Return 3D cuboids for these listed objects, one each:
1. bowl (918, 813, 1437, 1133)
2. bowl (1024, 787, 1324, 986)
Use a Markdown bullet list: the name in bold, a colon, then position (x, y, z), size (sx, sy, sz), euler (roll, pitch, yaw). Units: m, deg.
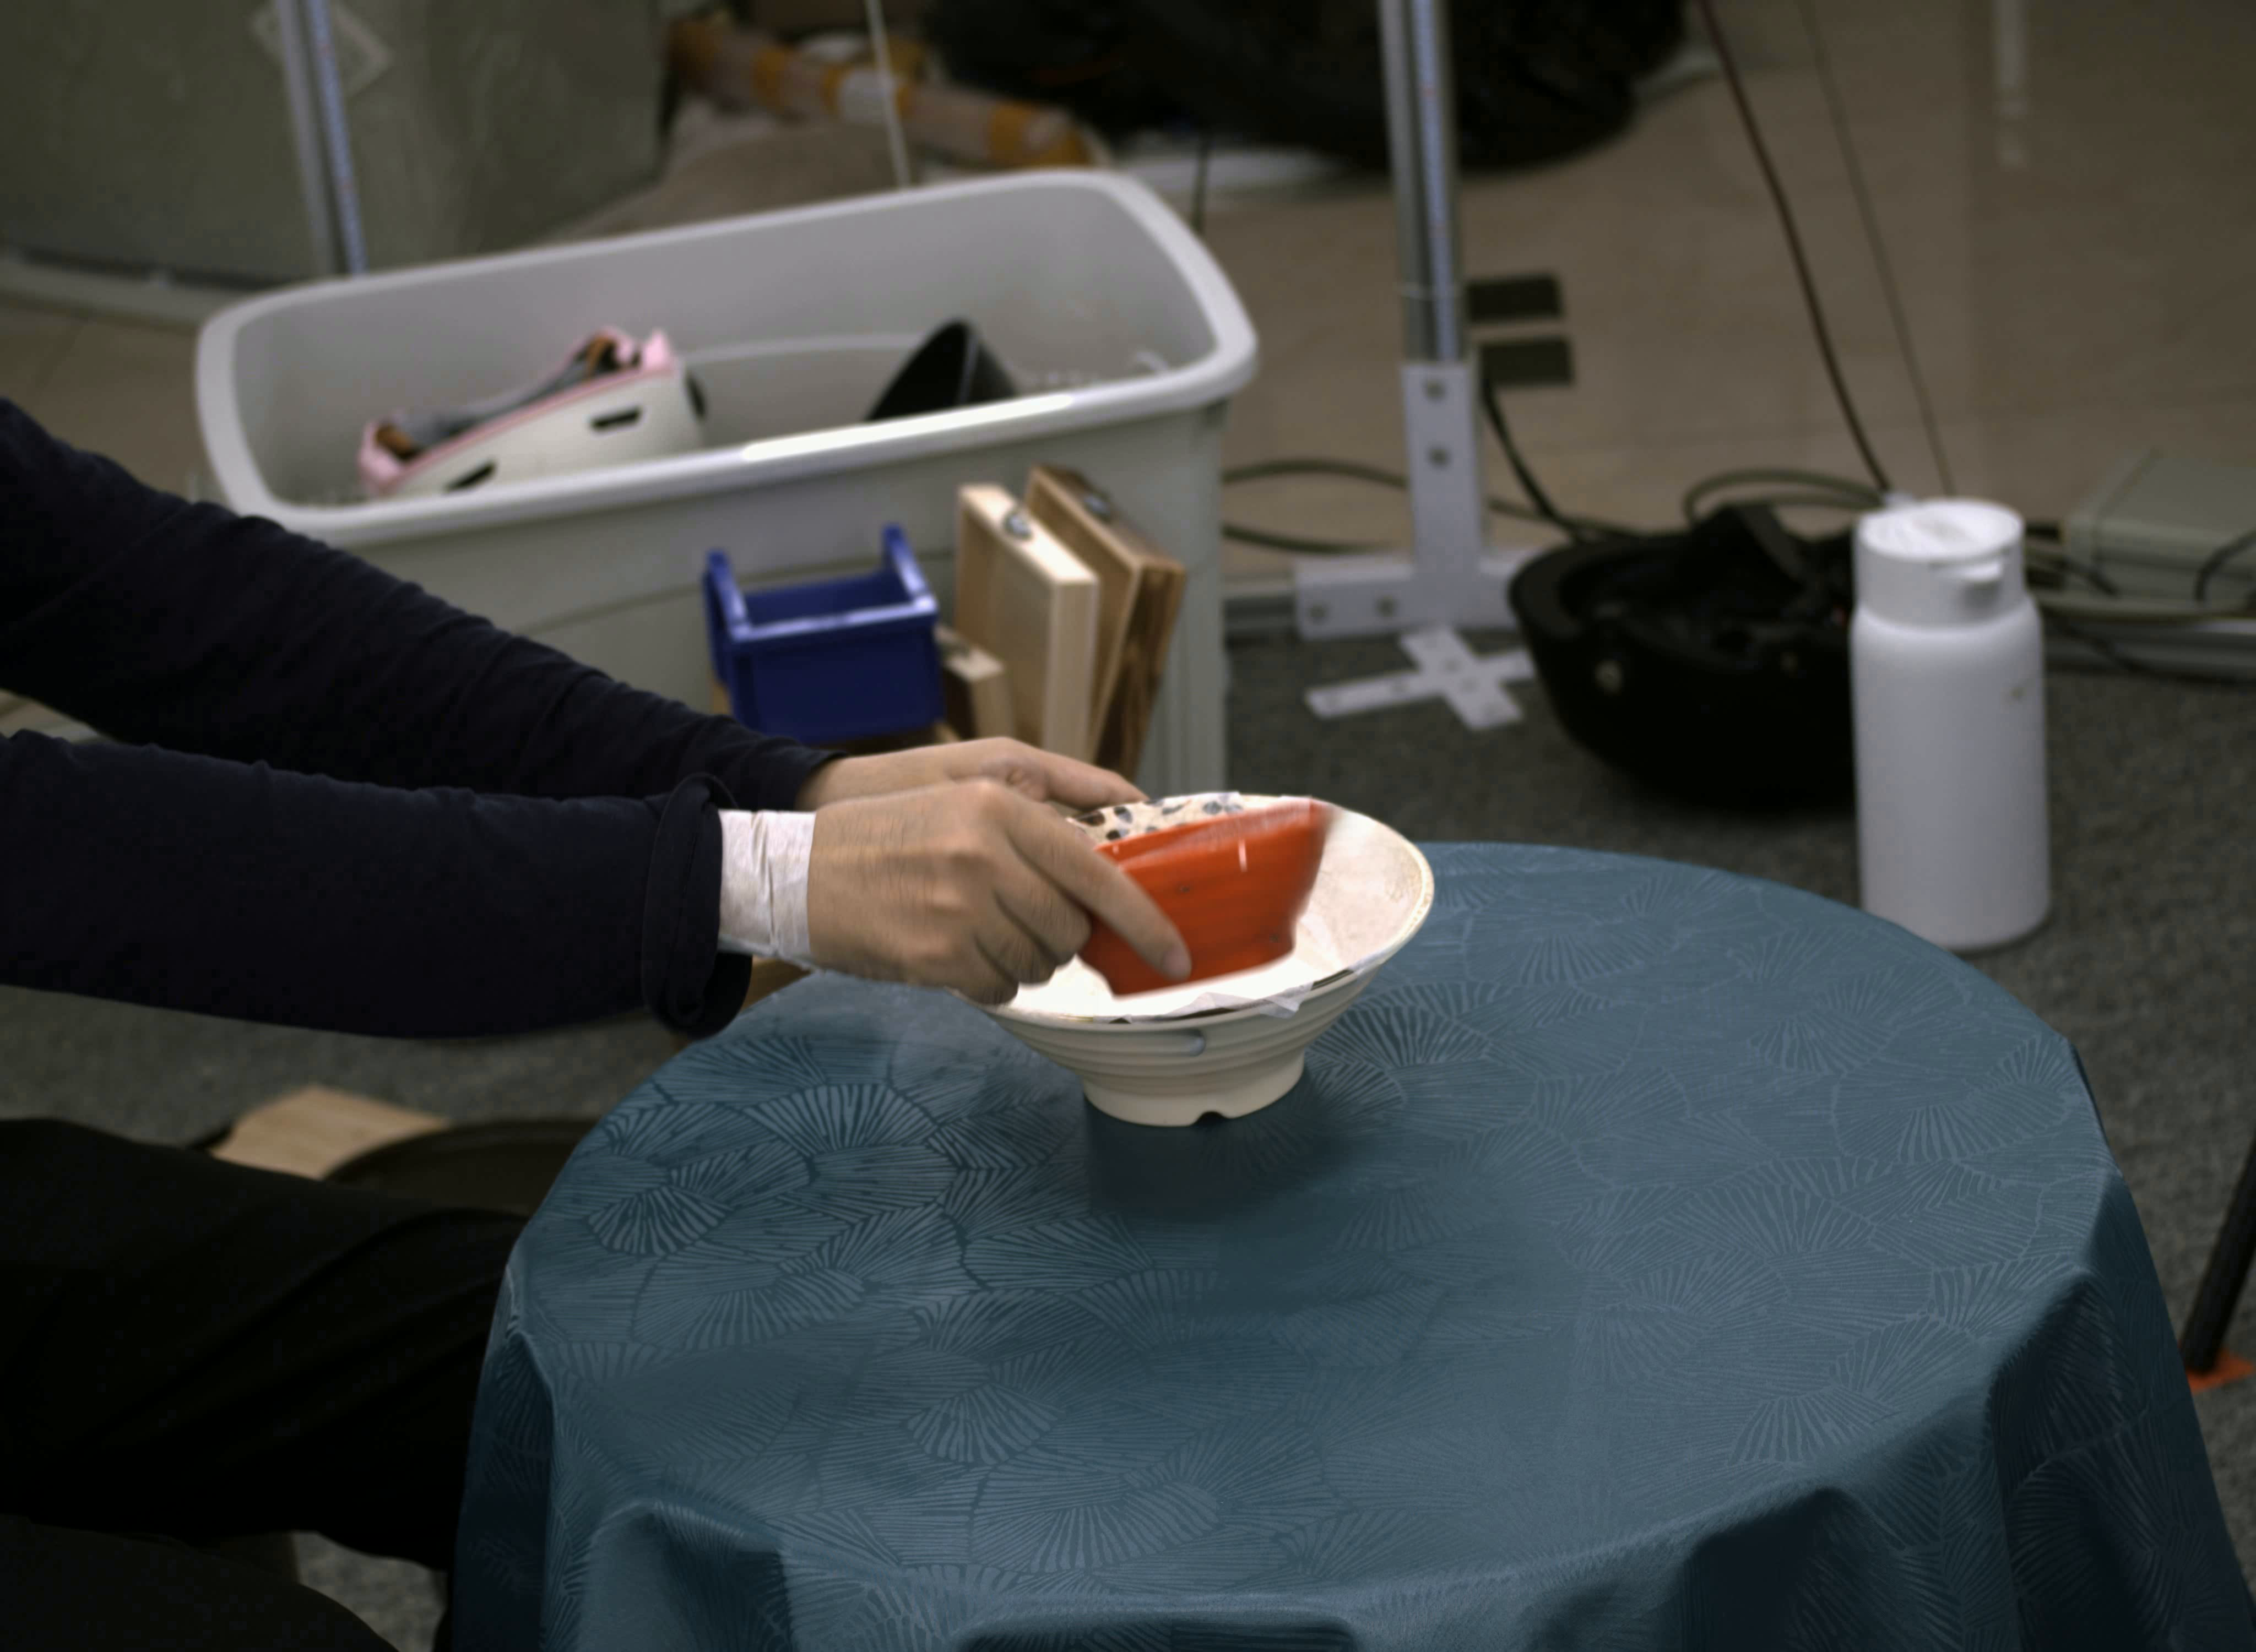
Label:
- **bowl**: position (0.024, 0.067, 2.212), size (0.204, 0.079, 0.201), euler (-7, 22, 3)
- **bowl**: position (0.022, 0.024, 2.067), size (0.119, 0.051, 0.118), euler (-13, 6, 2)
